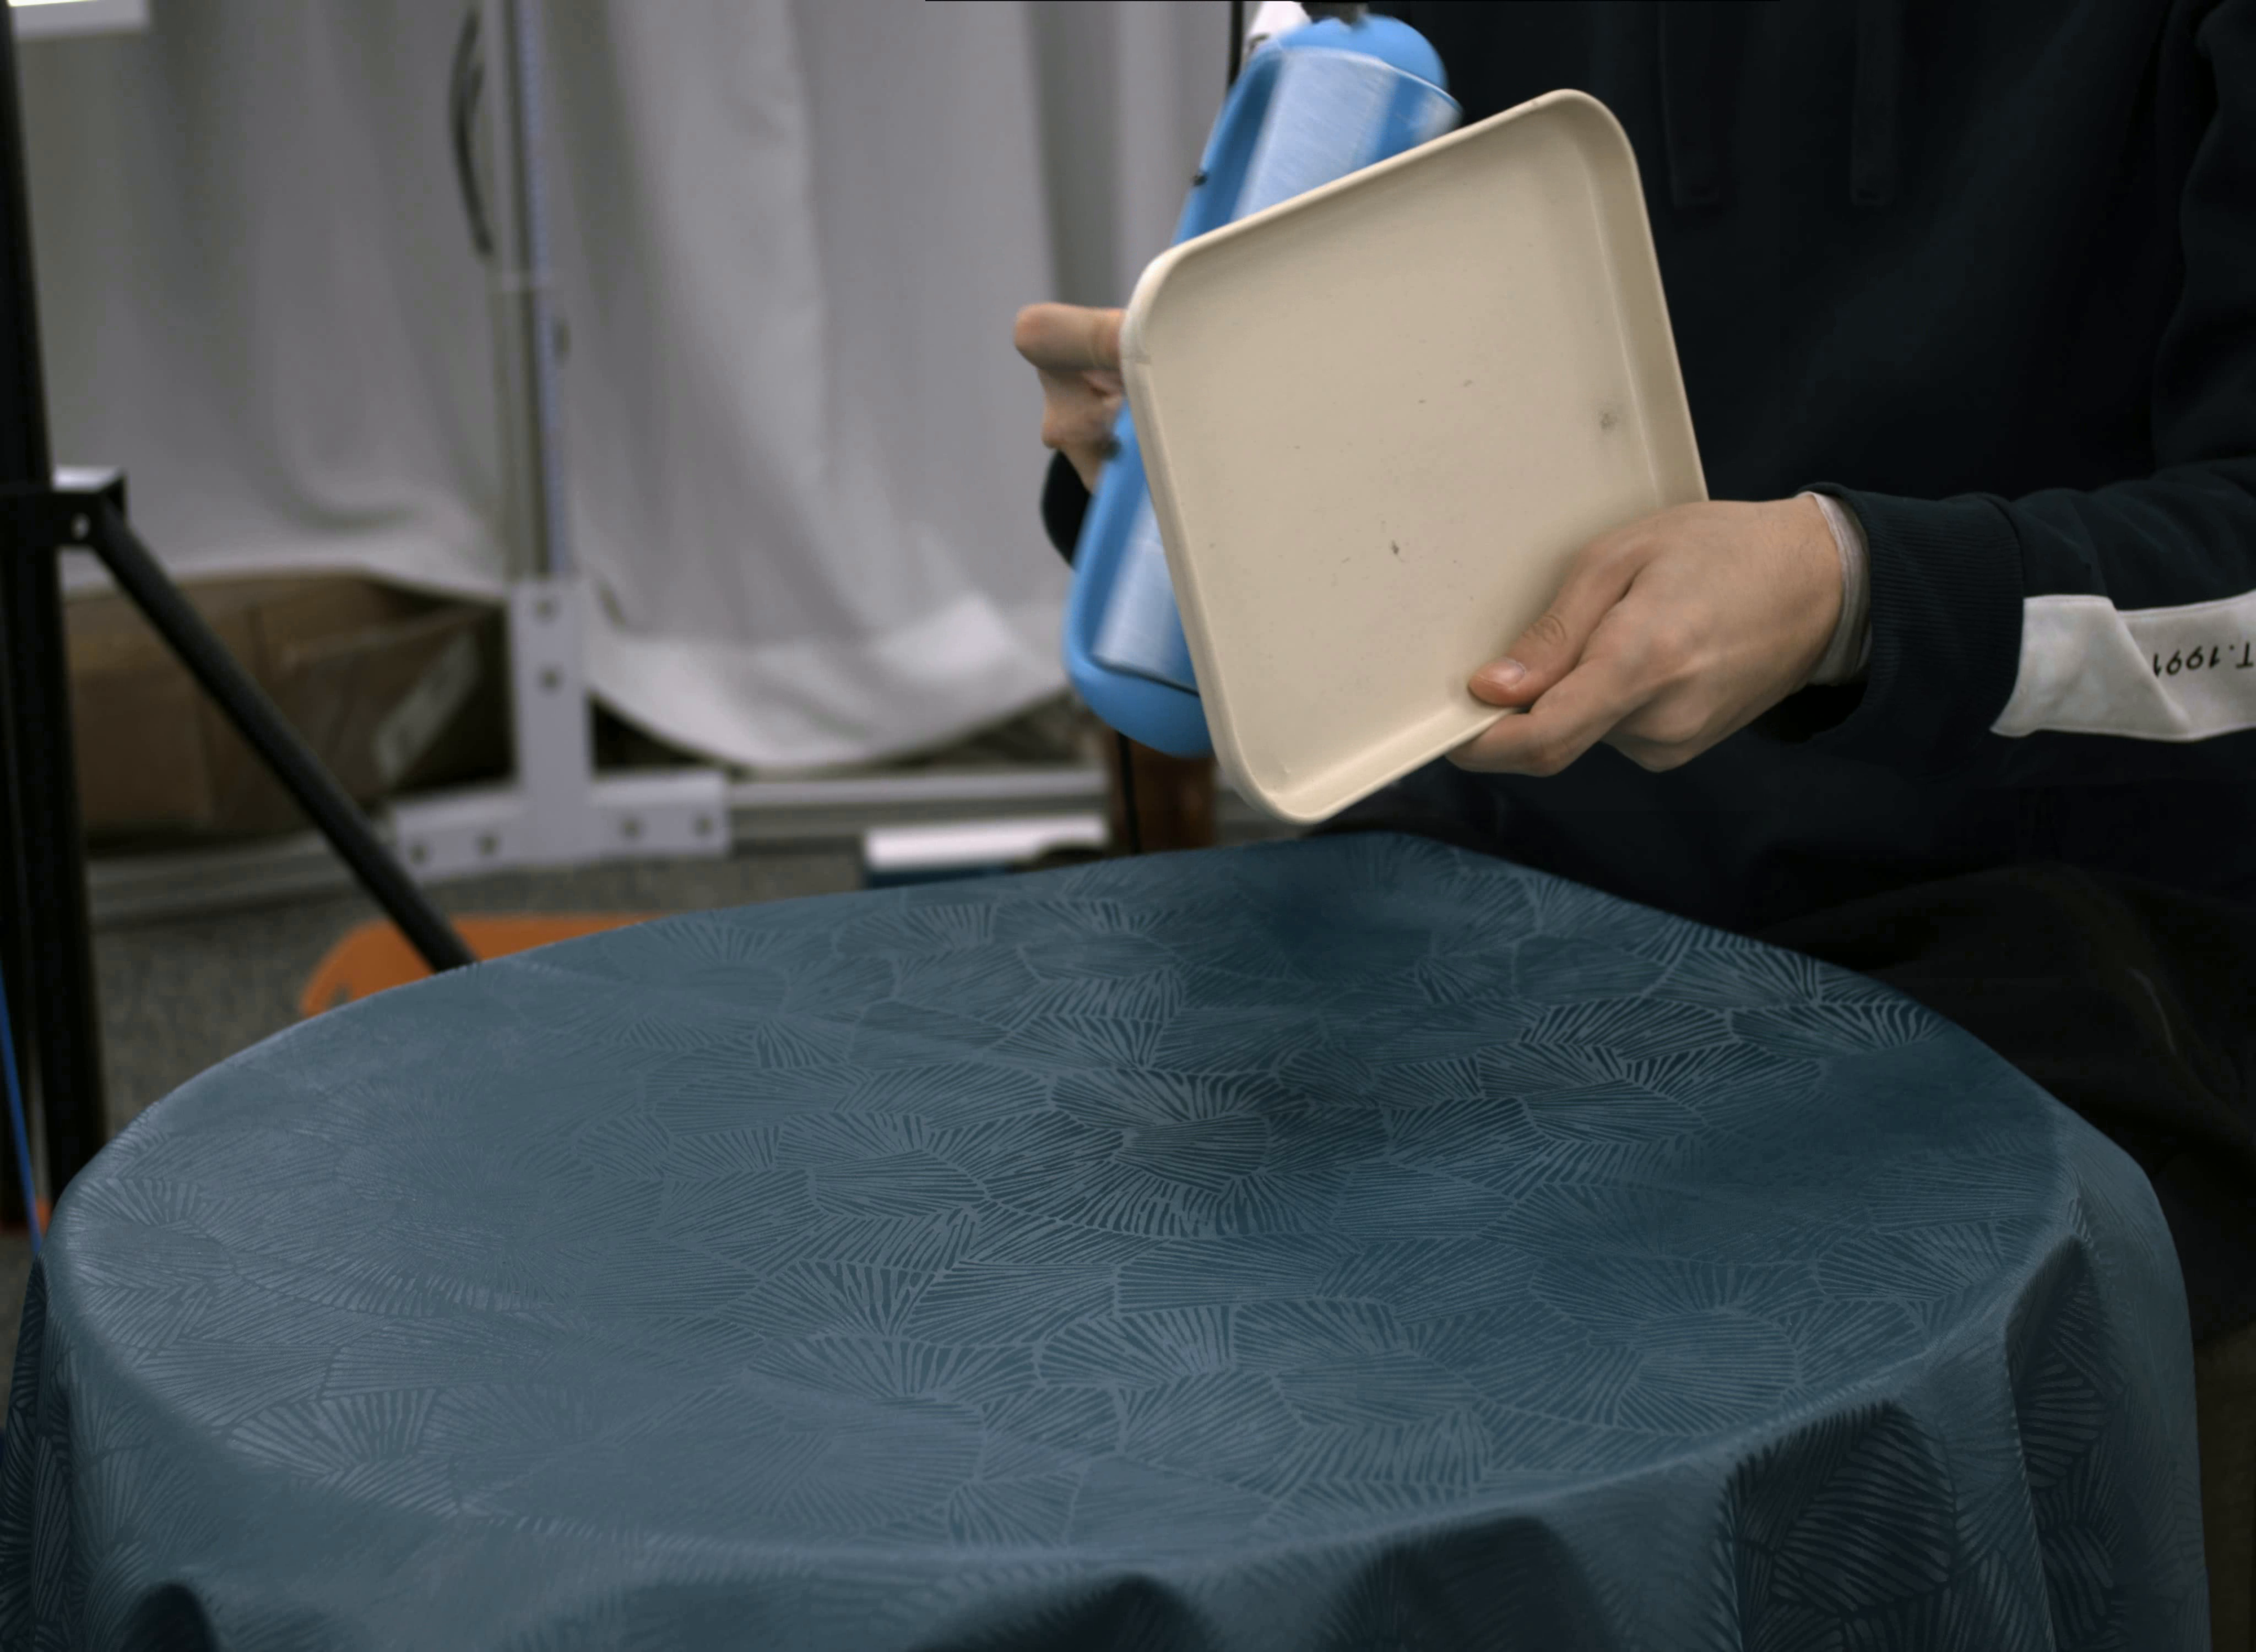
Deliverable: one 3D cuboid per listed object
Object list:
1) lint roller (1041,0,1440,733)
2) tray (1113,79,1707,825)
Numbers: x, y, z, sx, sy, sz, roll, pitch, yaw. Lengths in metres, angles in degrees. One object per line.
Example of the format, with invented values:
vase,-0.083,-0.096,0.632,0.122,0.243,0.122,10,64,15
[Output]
lint roller,0.028,-0.132,1.627,0.067,0.230,0.181,18,-7,-6
tray,0.084,-0.111,1.549,0.018,0.171,0.235,-3,17,43
